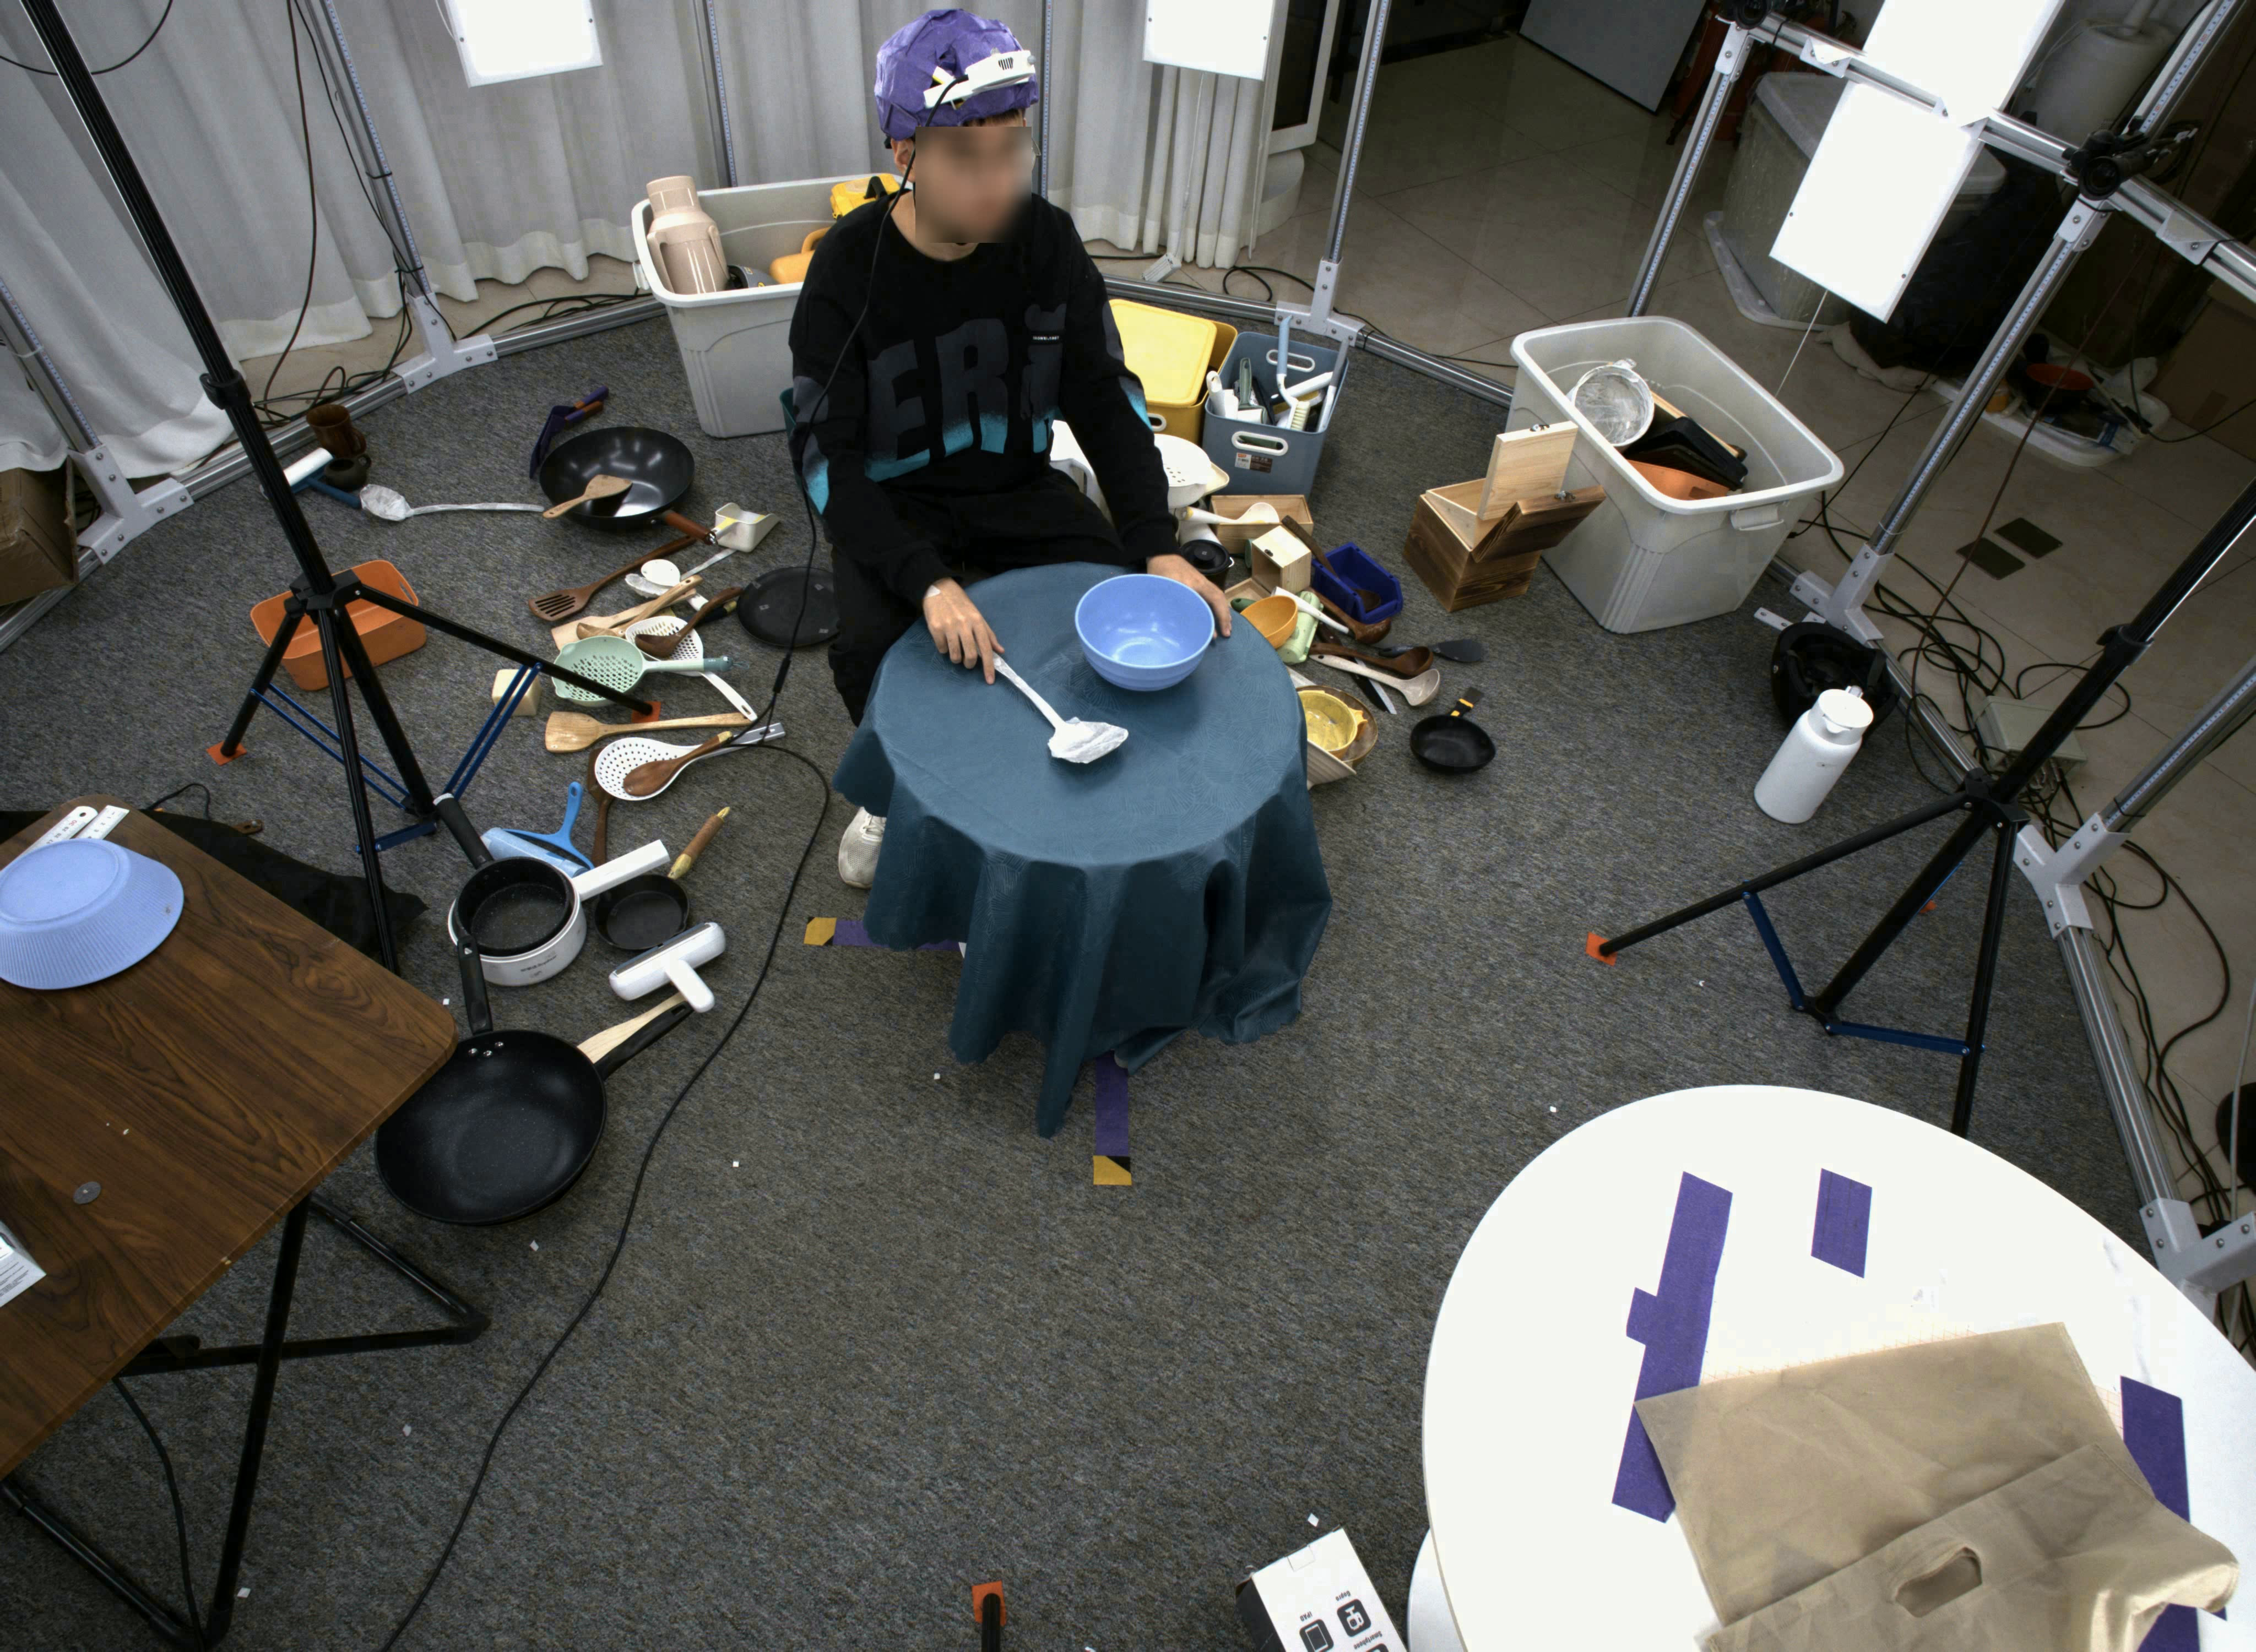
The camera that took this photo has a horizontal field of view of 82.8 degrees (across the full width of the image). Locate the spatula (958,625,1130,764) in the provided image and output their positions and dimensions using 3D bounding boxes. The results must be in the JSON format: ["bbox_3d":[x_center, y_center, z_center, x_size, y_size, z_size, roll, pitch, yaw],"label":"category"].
[{"bbox_3d":[-0.140,-0.198,1.822,0.099,0.043,0.371,-31,58,-25],"label":"spatula"}]

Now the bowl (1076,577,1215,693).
[{"bbox_3d":[0.023,-0.260,1.852,0.196,0.093,0.201,1,50,-2],"label":"bowl"}]
